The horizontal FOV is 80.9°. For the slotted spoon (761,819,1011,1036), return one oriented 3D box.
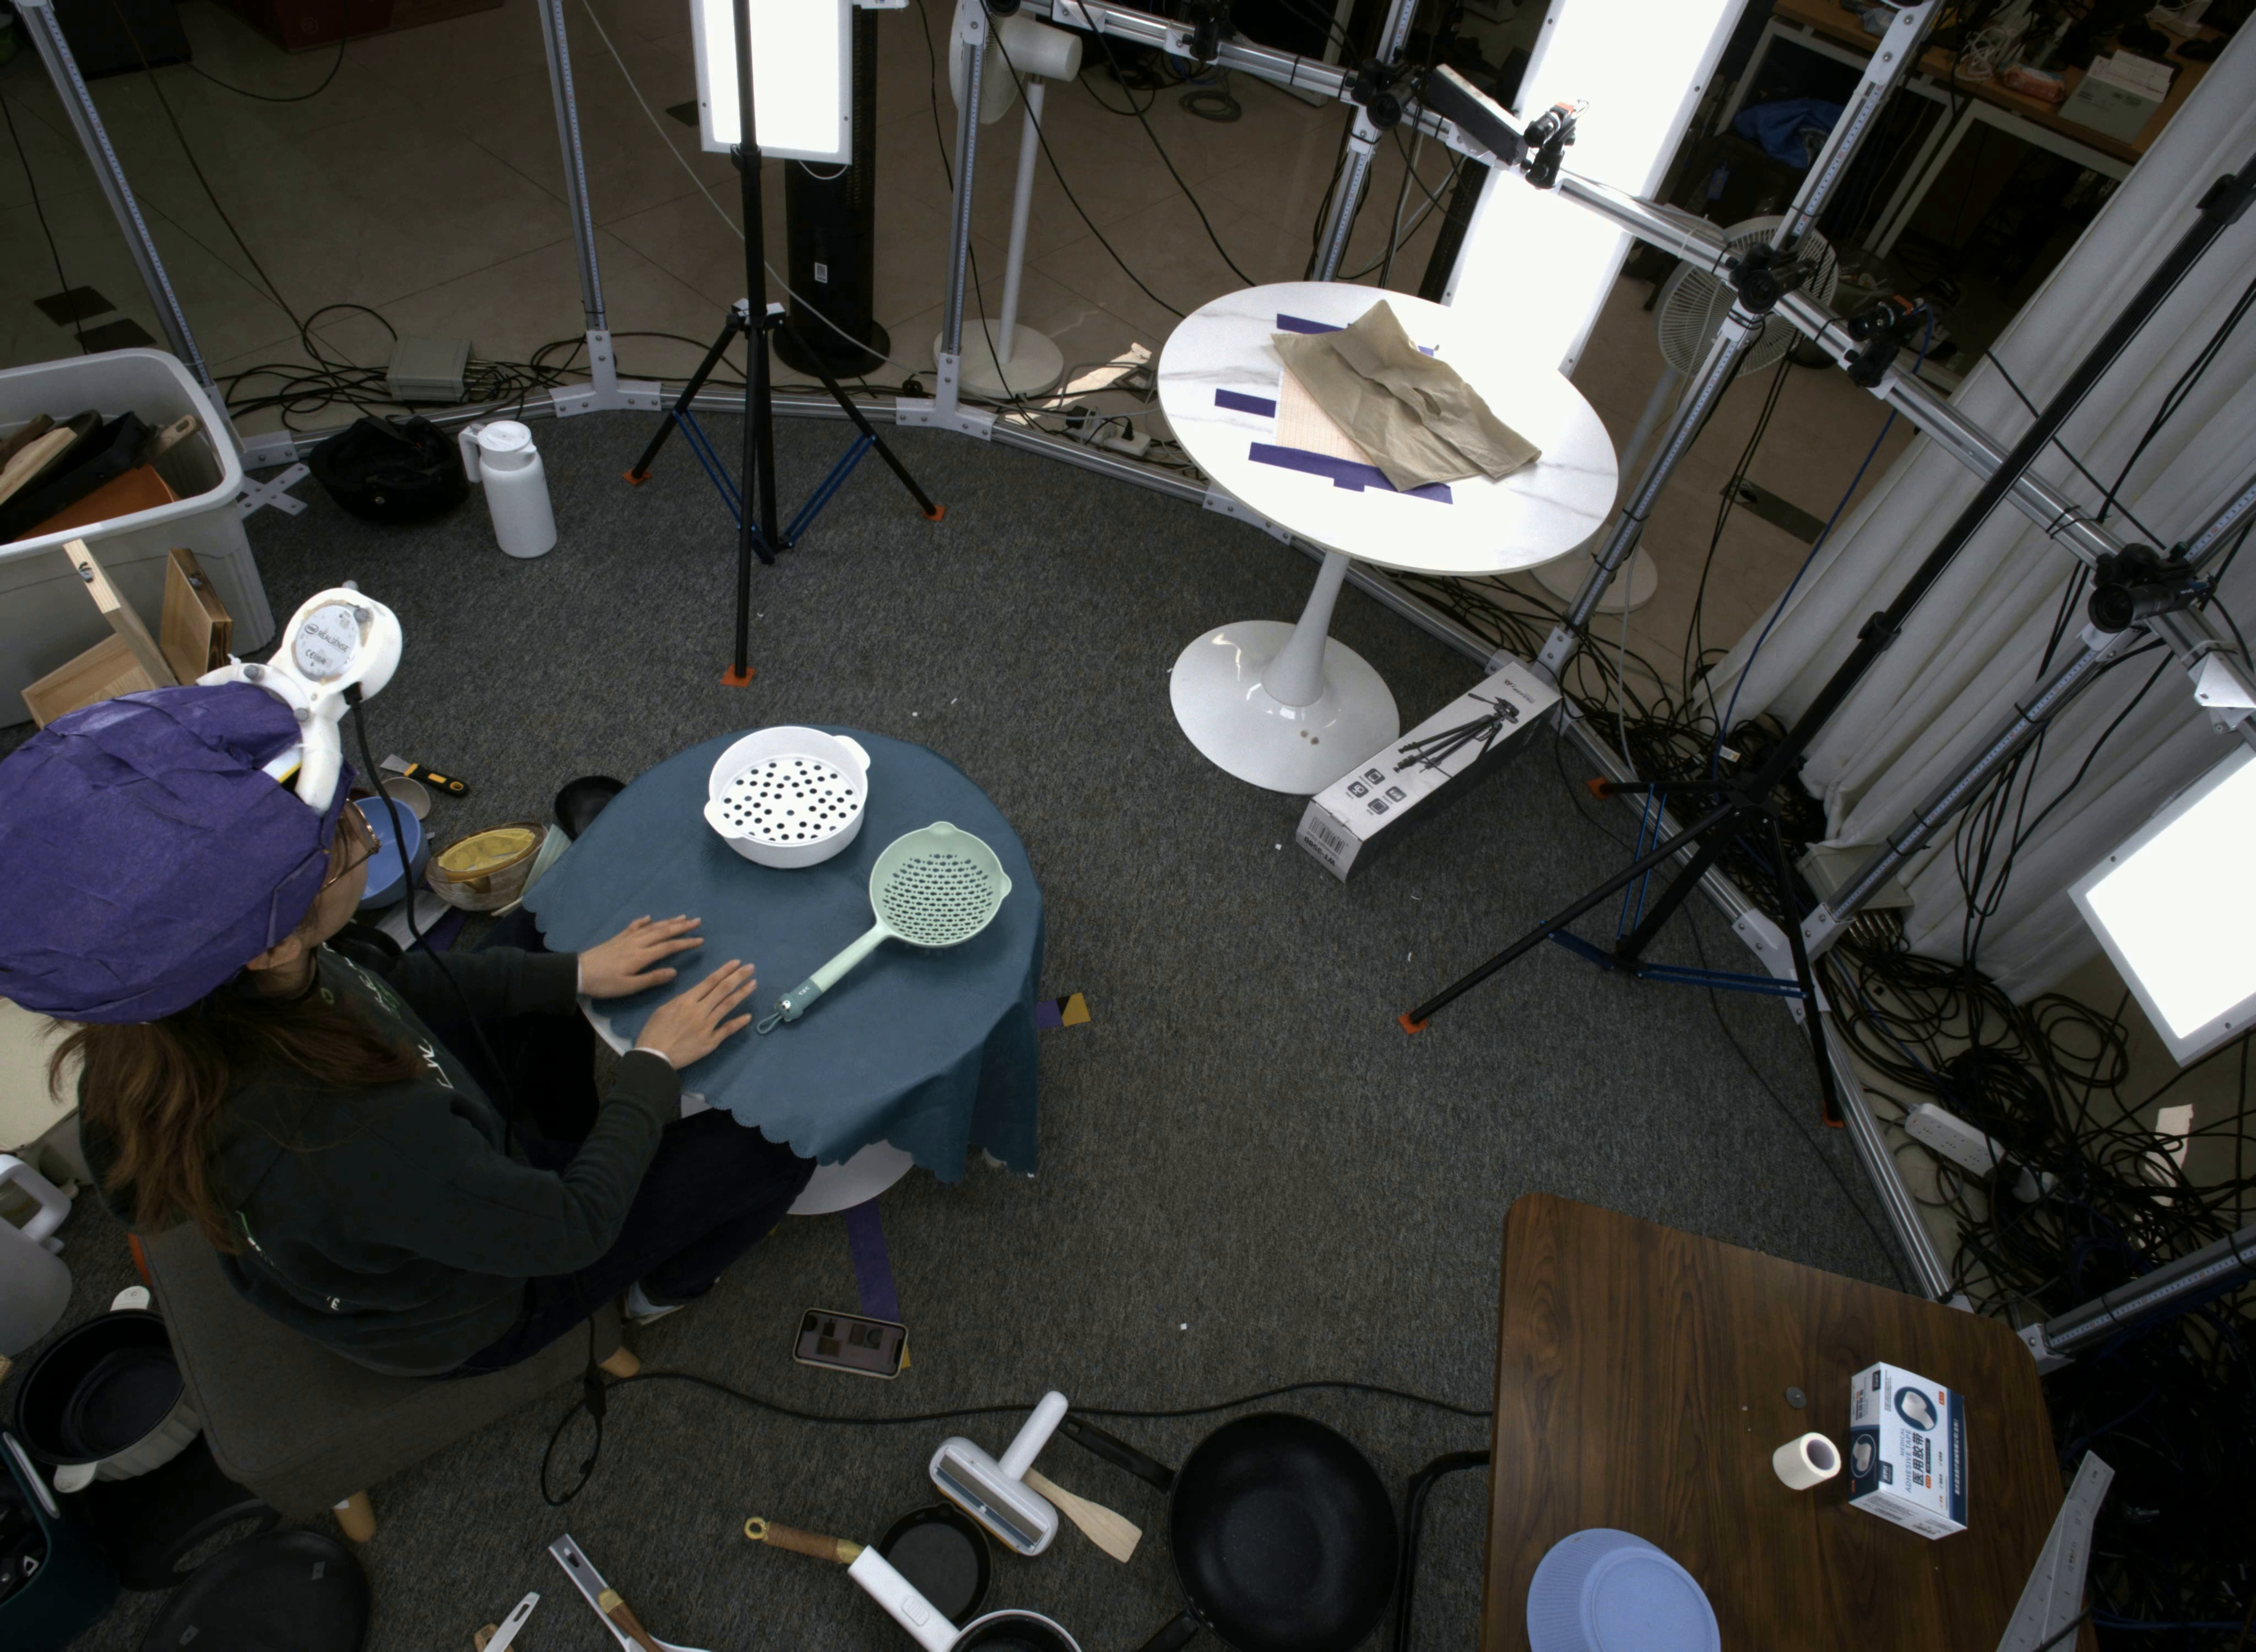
[{"bbox_3d":[-0.310,0.134,1.617,0.166,0.077,0.359,42,55,16],"label":"slotted spoon"}]

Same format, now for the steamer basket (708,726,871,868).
[{"bbox_3d":[-0.443,-0.038,1.712,0.197,0.071,0.231,42,56,19],"label":"steamer basket"}]
